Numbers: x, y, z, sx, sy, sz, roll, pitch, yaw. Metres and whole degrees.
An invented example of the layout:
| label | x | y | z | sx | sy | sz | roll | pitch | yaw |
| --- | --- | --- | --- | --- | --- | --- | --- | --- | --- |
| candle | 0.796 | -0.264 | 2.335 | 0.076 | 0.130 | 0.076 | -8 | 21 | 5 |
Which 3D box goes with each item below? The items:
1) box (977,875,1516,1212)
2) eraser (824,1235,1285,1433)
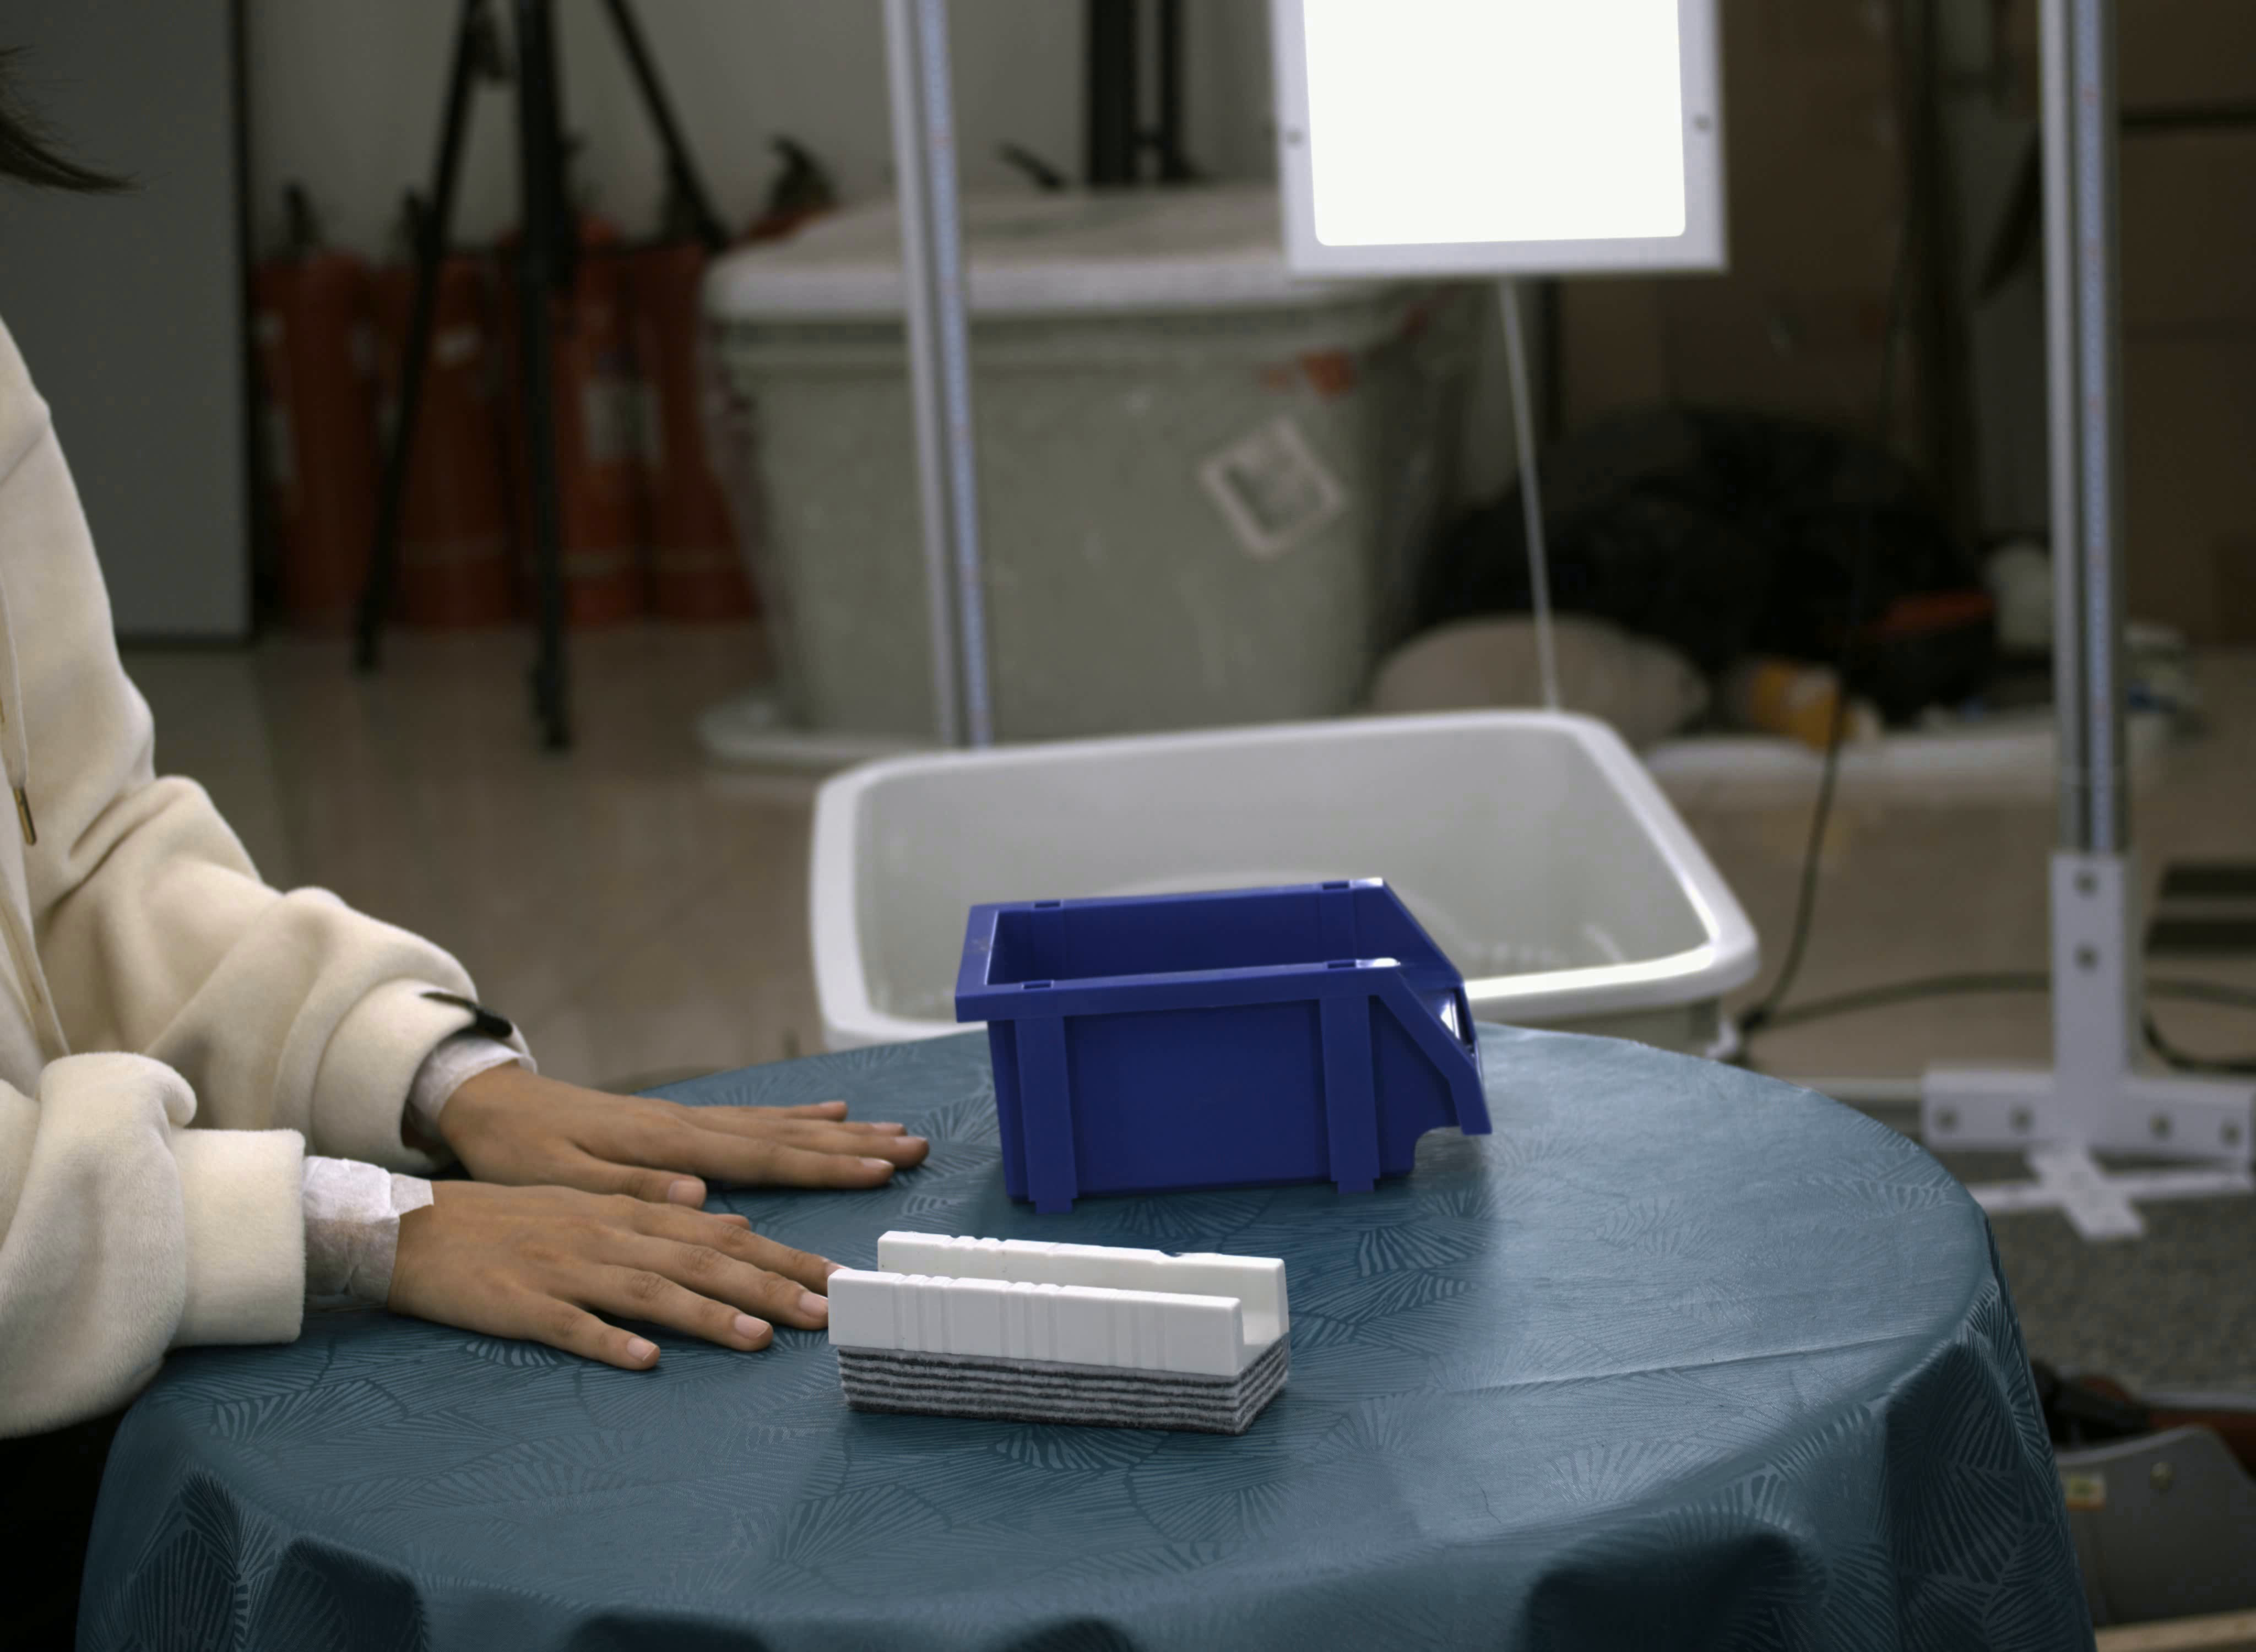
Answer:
| label | x | y | z | sx | sy | sz | roll | pitch | yaw |
| --- | --- | --- | --- | --- | --- | --- | --- | --- | --- |
| box | 0.044 | 0.074 | 1.926 | 0.180 | 0.082 | 0.124 | -5 | 14 | 6 |
| eraser | -0.022 | 0.155 | 1.691 | 0.136 | 0.047 | 0.049 | 2 | 17 | 21 |
